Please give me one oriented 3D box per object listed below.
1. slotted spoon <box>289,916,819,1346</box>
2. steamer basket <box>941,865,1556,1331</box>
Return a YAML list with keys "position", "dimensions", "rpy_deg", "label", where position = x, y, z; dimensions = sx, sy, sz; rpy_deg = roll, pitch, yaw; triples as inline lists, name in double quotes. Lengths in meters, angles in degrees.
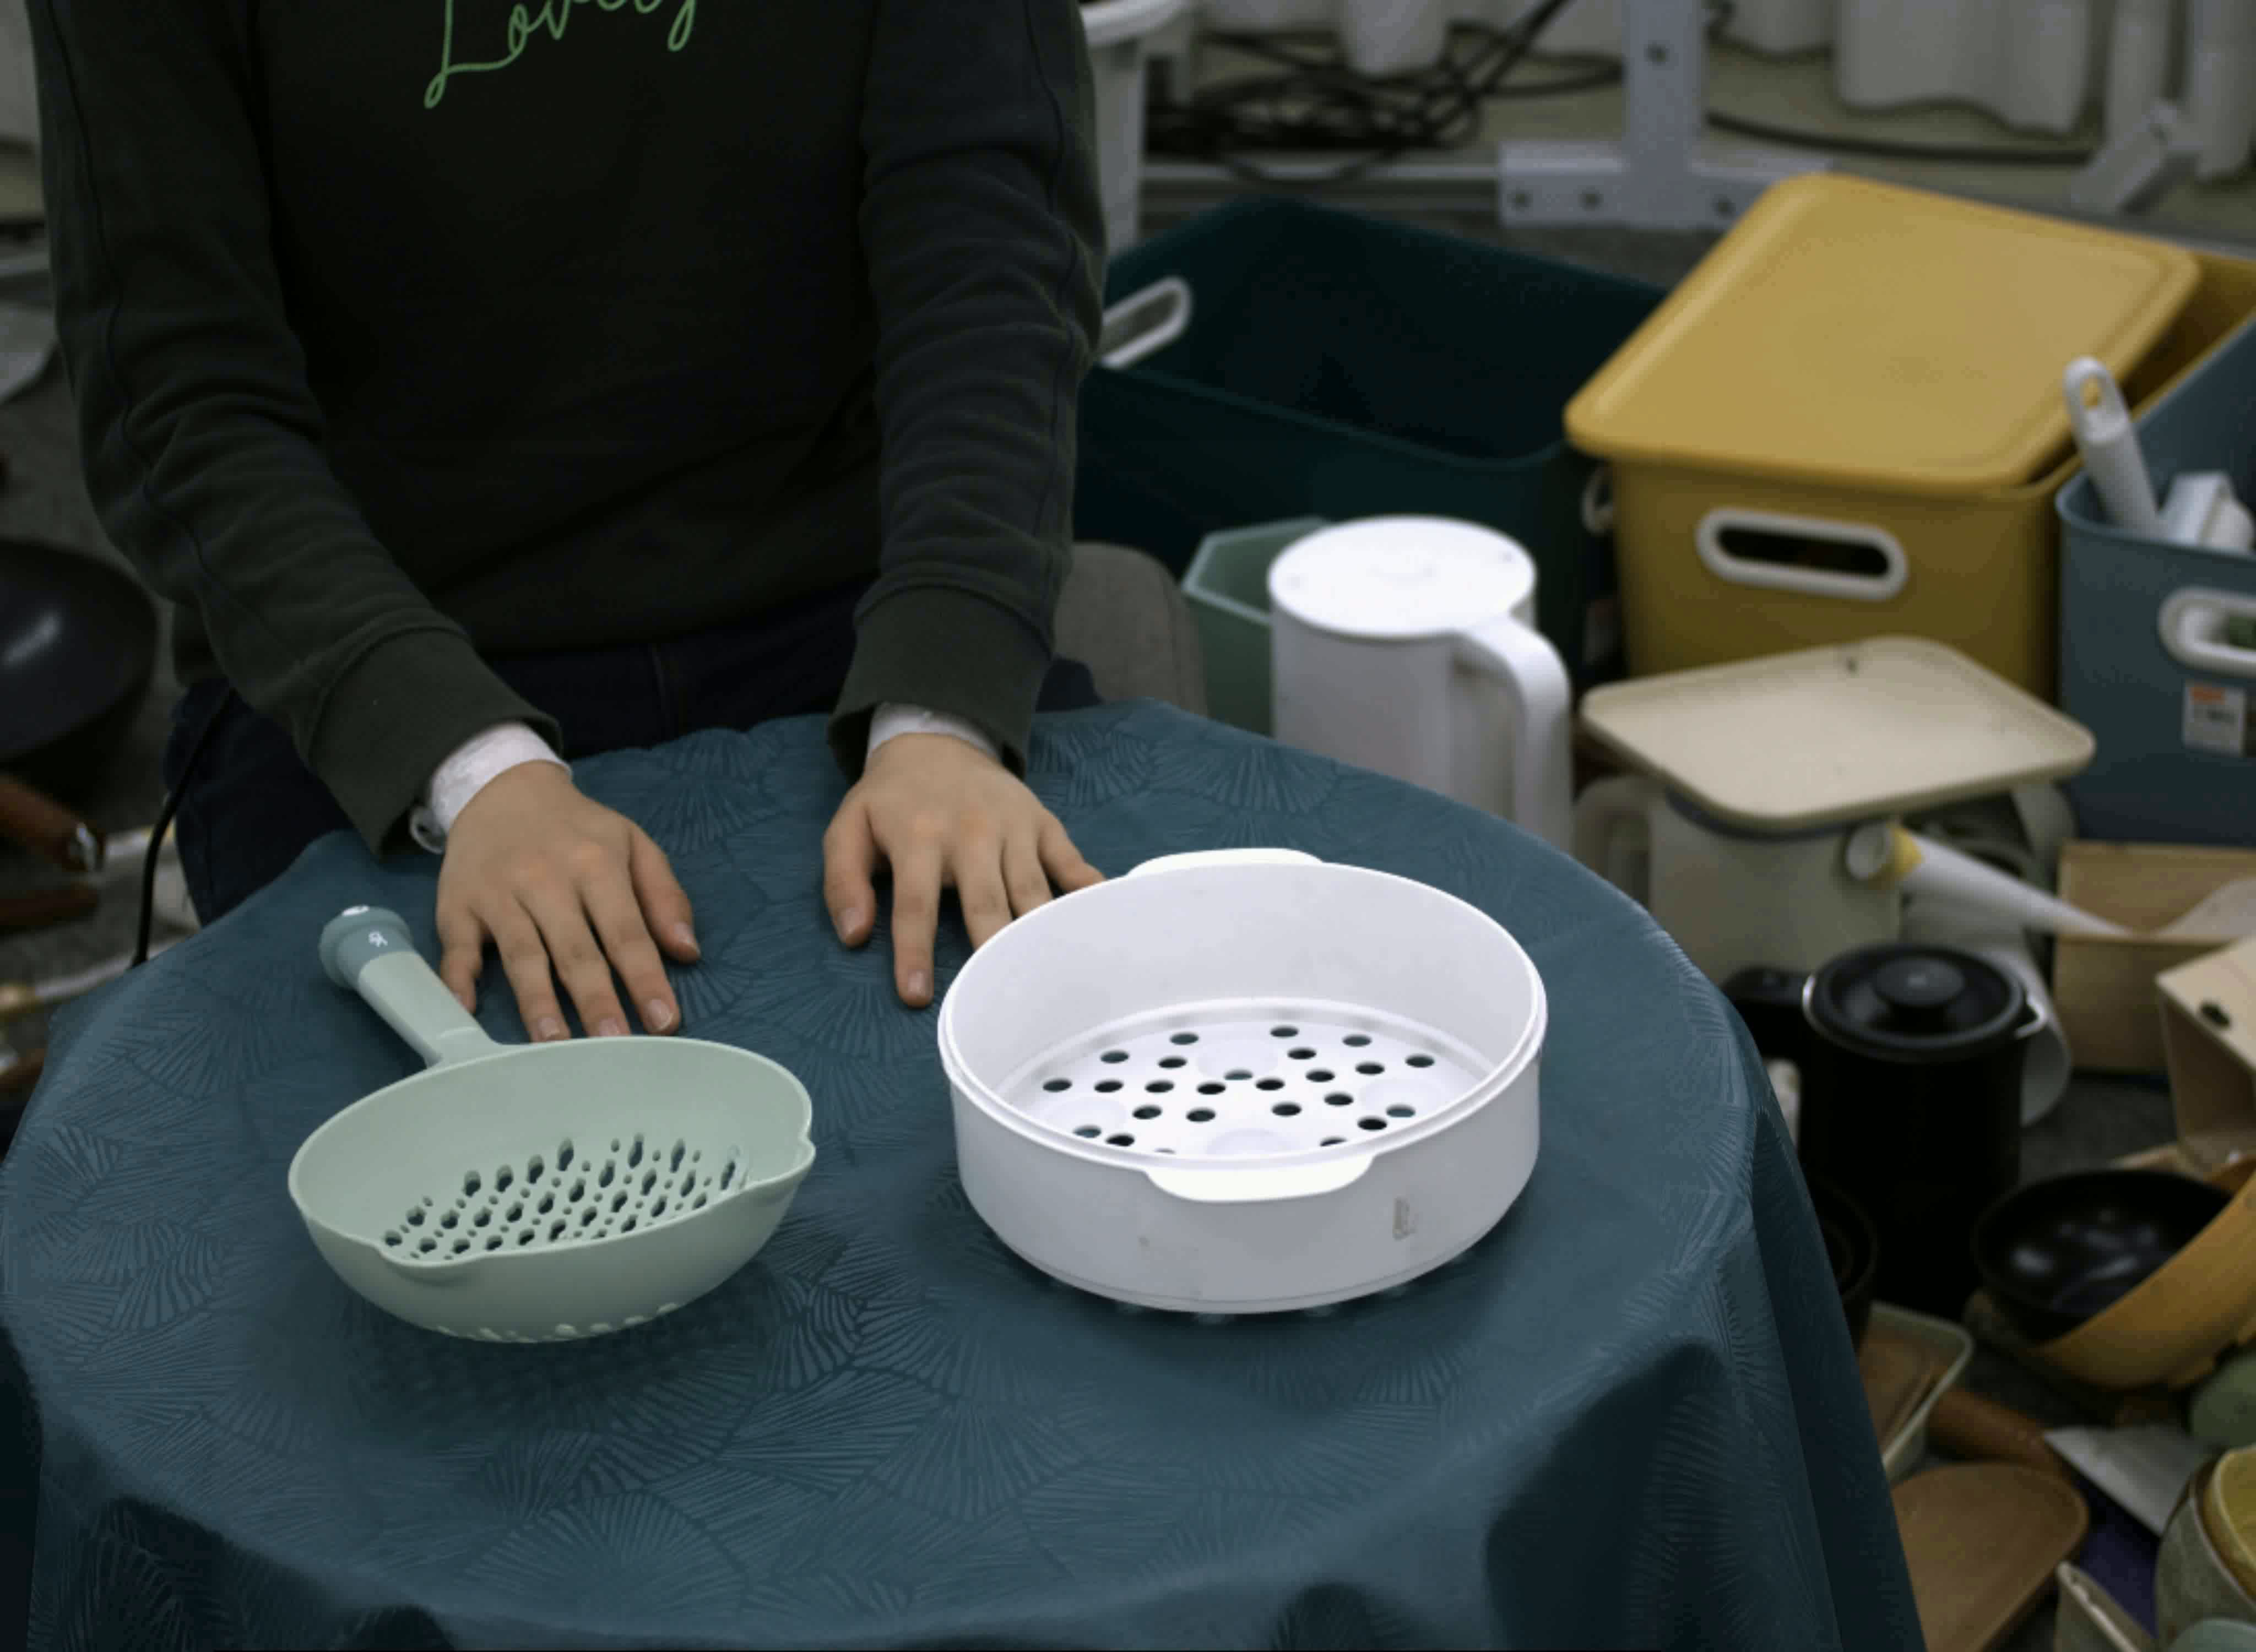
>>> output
- position: [-0.219, 0.086, 1.885]
  dimensions: [0.170, 0.074, 0.361]
  rpy_deg: [-12, 28, -19]
  label: "slotted spoon"
- position: [0.040, 0.091, 1.848]
  dimensions: [0.201, 0.068, 0.234]
  rpy_deg: [-3, 27, -2]
  label: "steamer basket"
